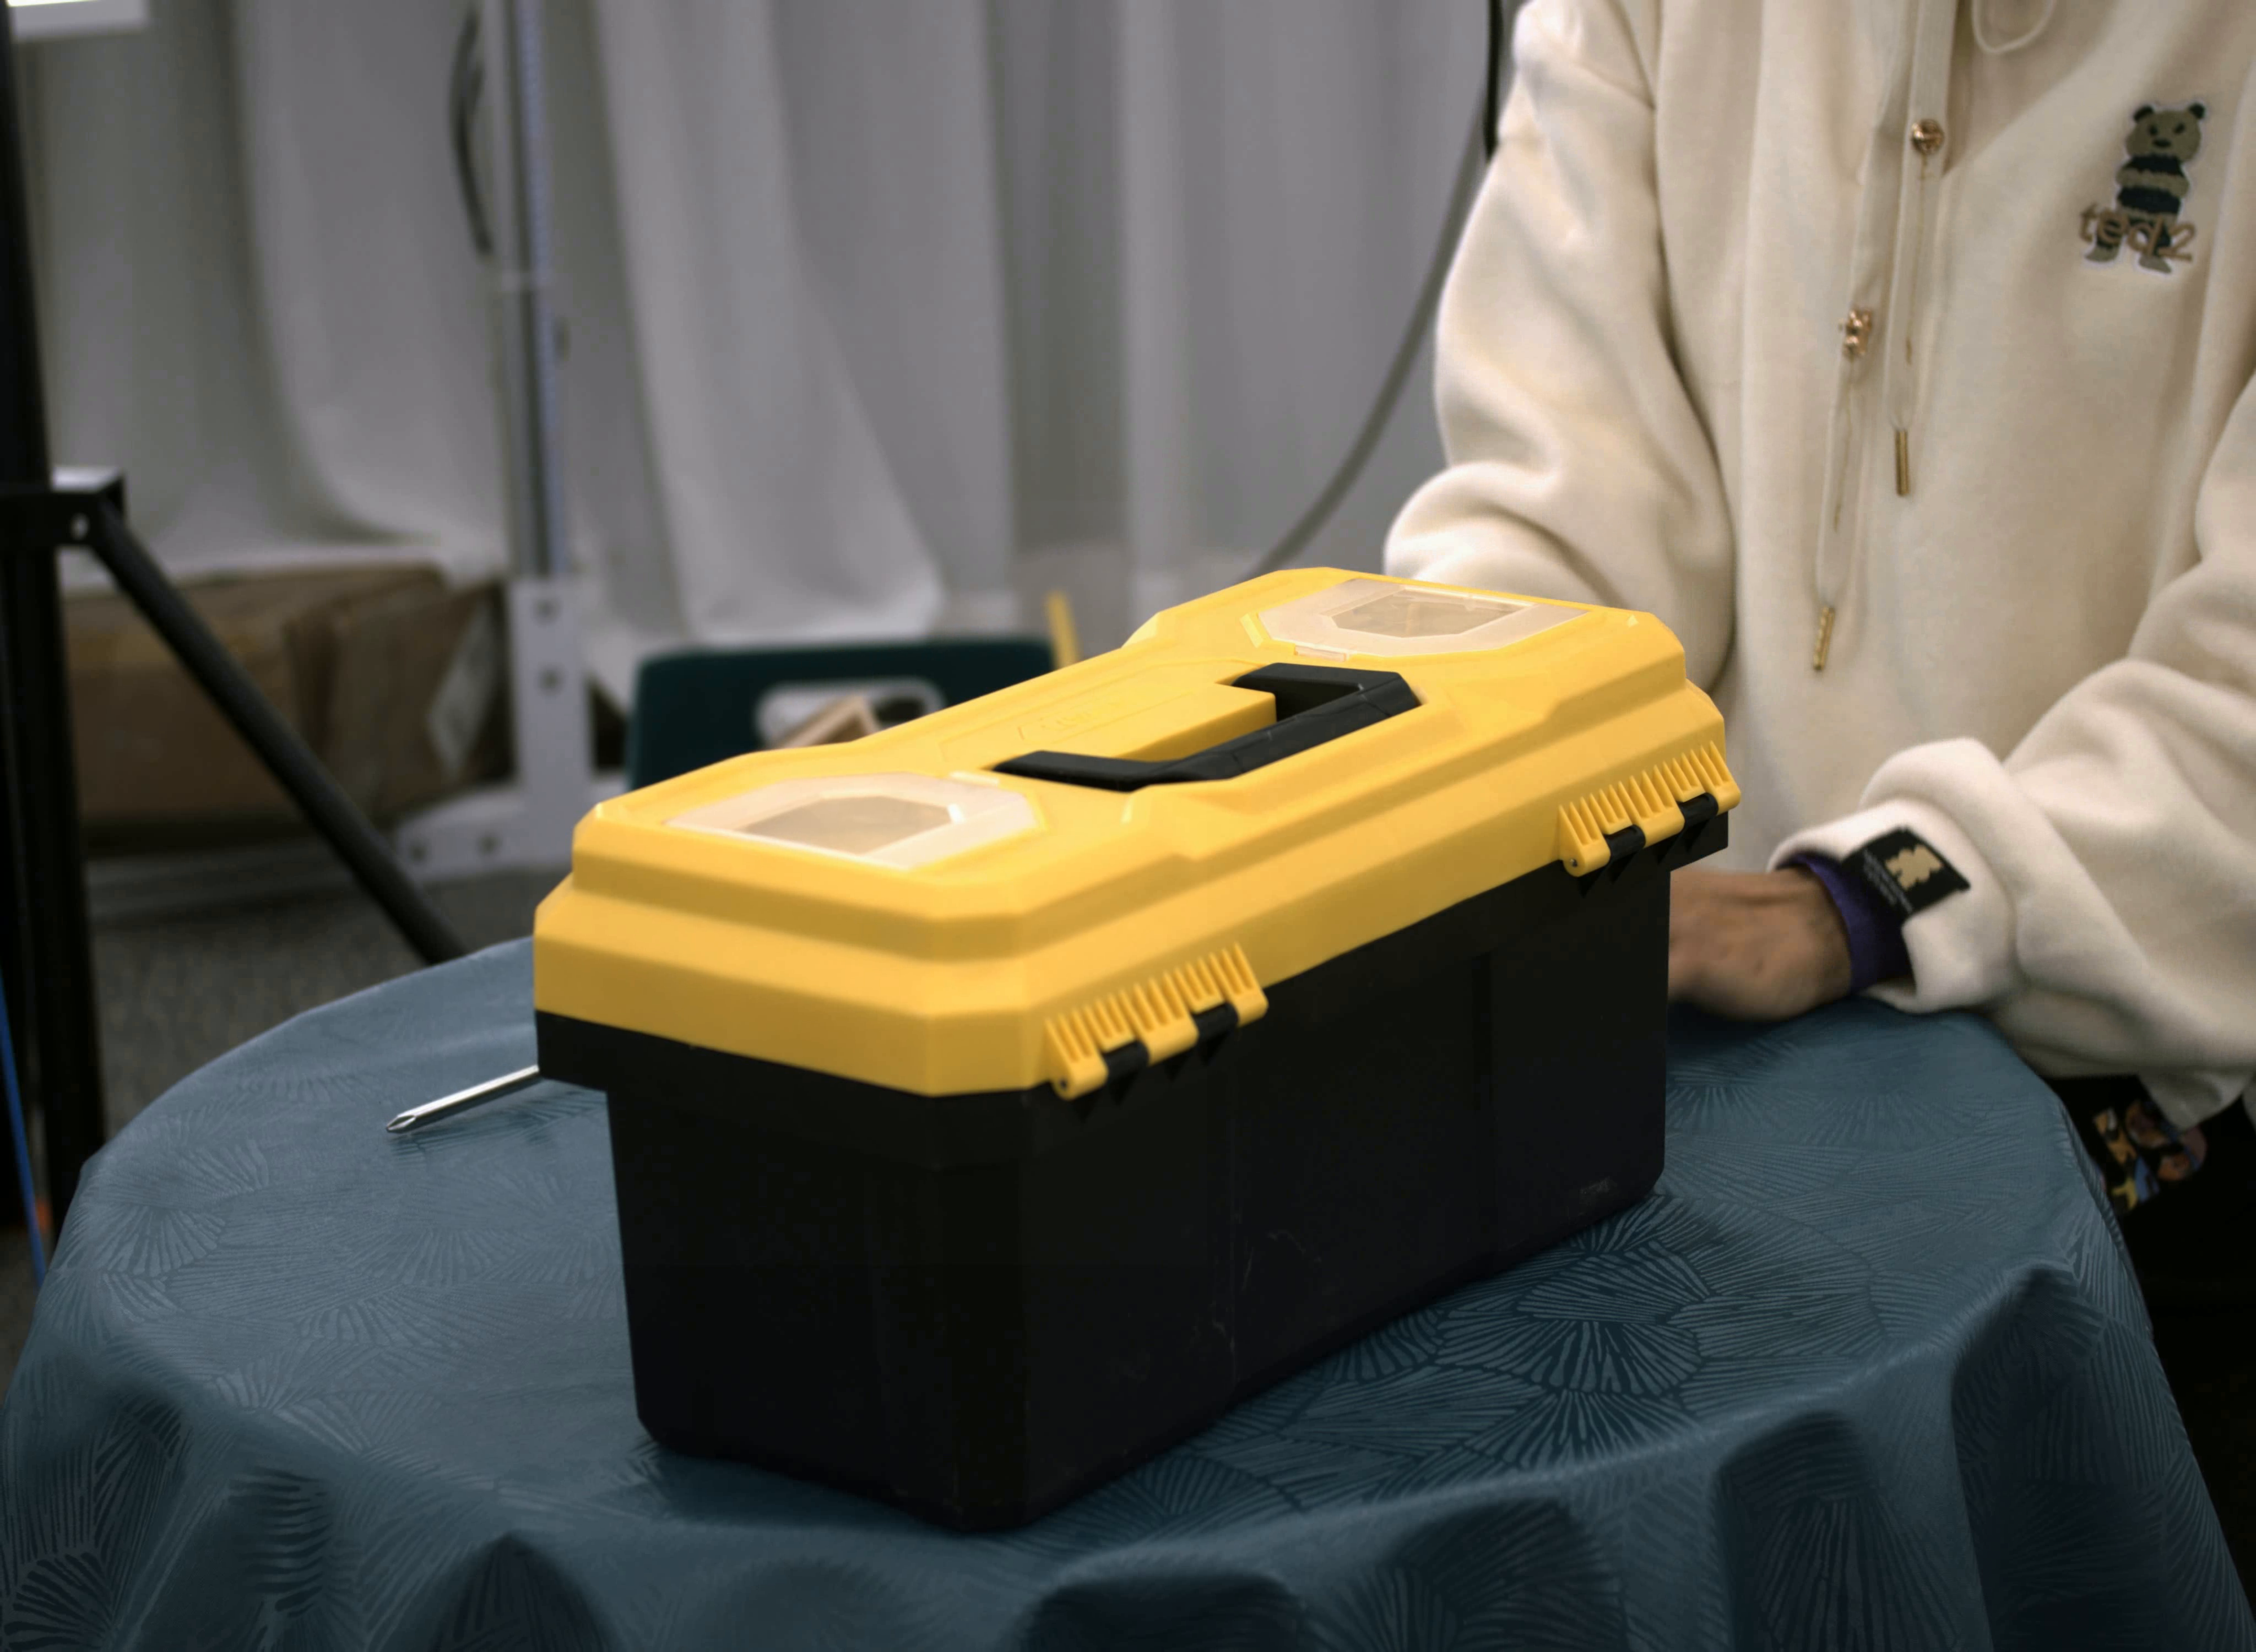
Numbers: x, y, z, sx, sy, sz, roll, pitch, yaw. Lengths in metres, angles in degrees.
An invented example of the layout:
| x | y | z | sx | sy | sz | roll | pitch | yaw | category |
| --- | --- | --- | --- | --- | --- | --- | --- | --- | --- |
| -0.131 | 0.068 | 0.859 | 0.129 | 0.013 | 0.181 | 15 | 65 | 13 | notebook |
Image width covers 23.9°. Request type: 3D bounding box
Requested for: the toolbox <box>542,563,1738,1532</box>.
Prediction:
| x | y | z | sx | sy | sz | roll | pitch | yaw | category |
| --- | --- | --- | --- | --- | --- | --- | --- | --- | --- |
| 0.011 | 0.050 | 1.441 | 0.185 | 0.173 | 0.344 | 10 | 20 | 38 | toolbox |

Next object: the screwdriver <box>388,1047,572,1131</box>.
| x | y | z | sx | sy | sz | roll | pitch | yaw | category |
| --- | --- | --- | --- | --- | --- | --- | --- | --- | --- |
| -0.153 | 0.061 | 1.689 | 0.192 | 0.031 | 0.032 | -17 | 21 | -37 | screwdriver |
